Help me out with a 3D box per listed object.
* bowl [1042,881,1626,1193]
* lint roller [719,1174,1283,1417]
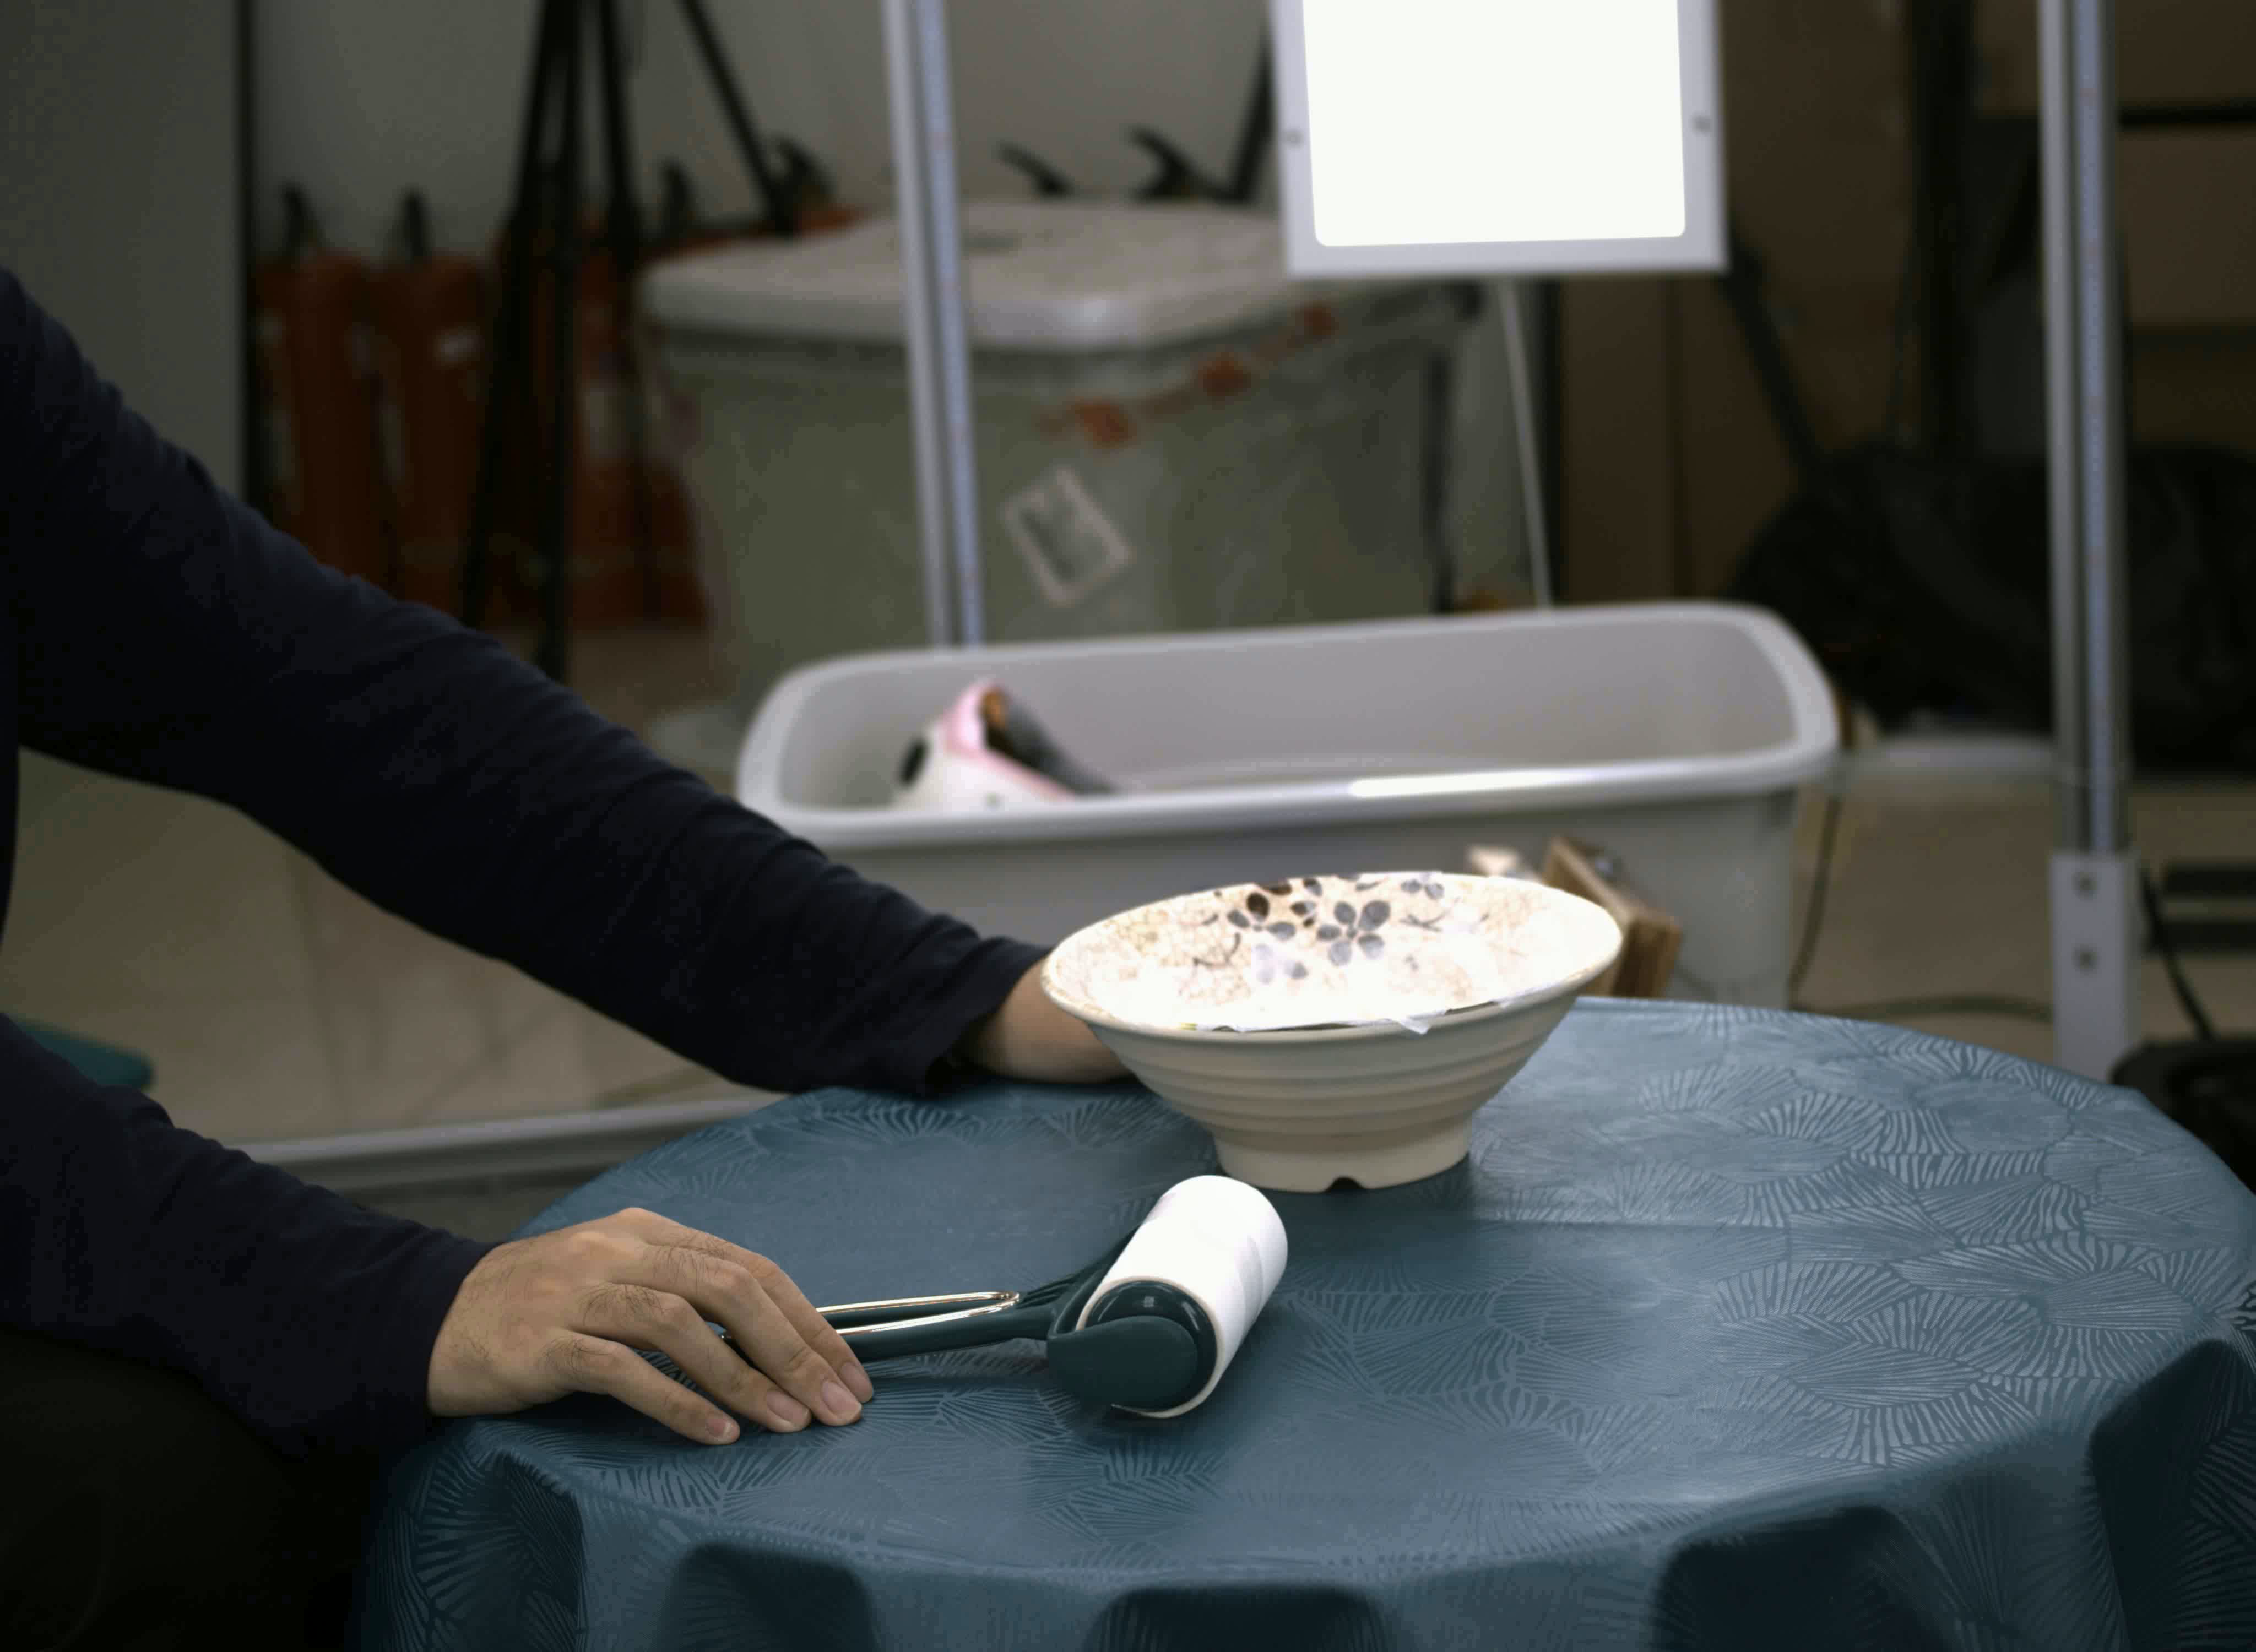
[{"bbox_3d":[0.075,0.078,1.911,0.203,0.078,0.204,-6,12,0],"label":"bowl"},{"bbox_3d":[-0.047,0.153,1.736,0.182,0.048,0.132,-6,13,17],"label":"lint roller"}]
